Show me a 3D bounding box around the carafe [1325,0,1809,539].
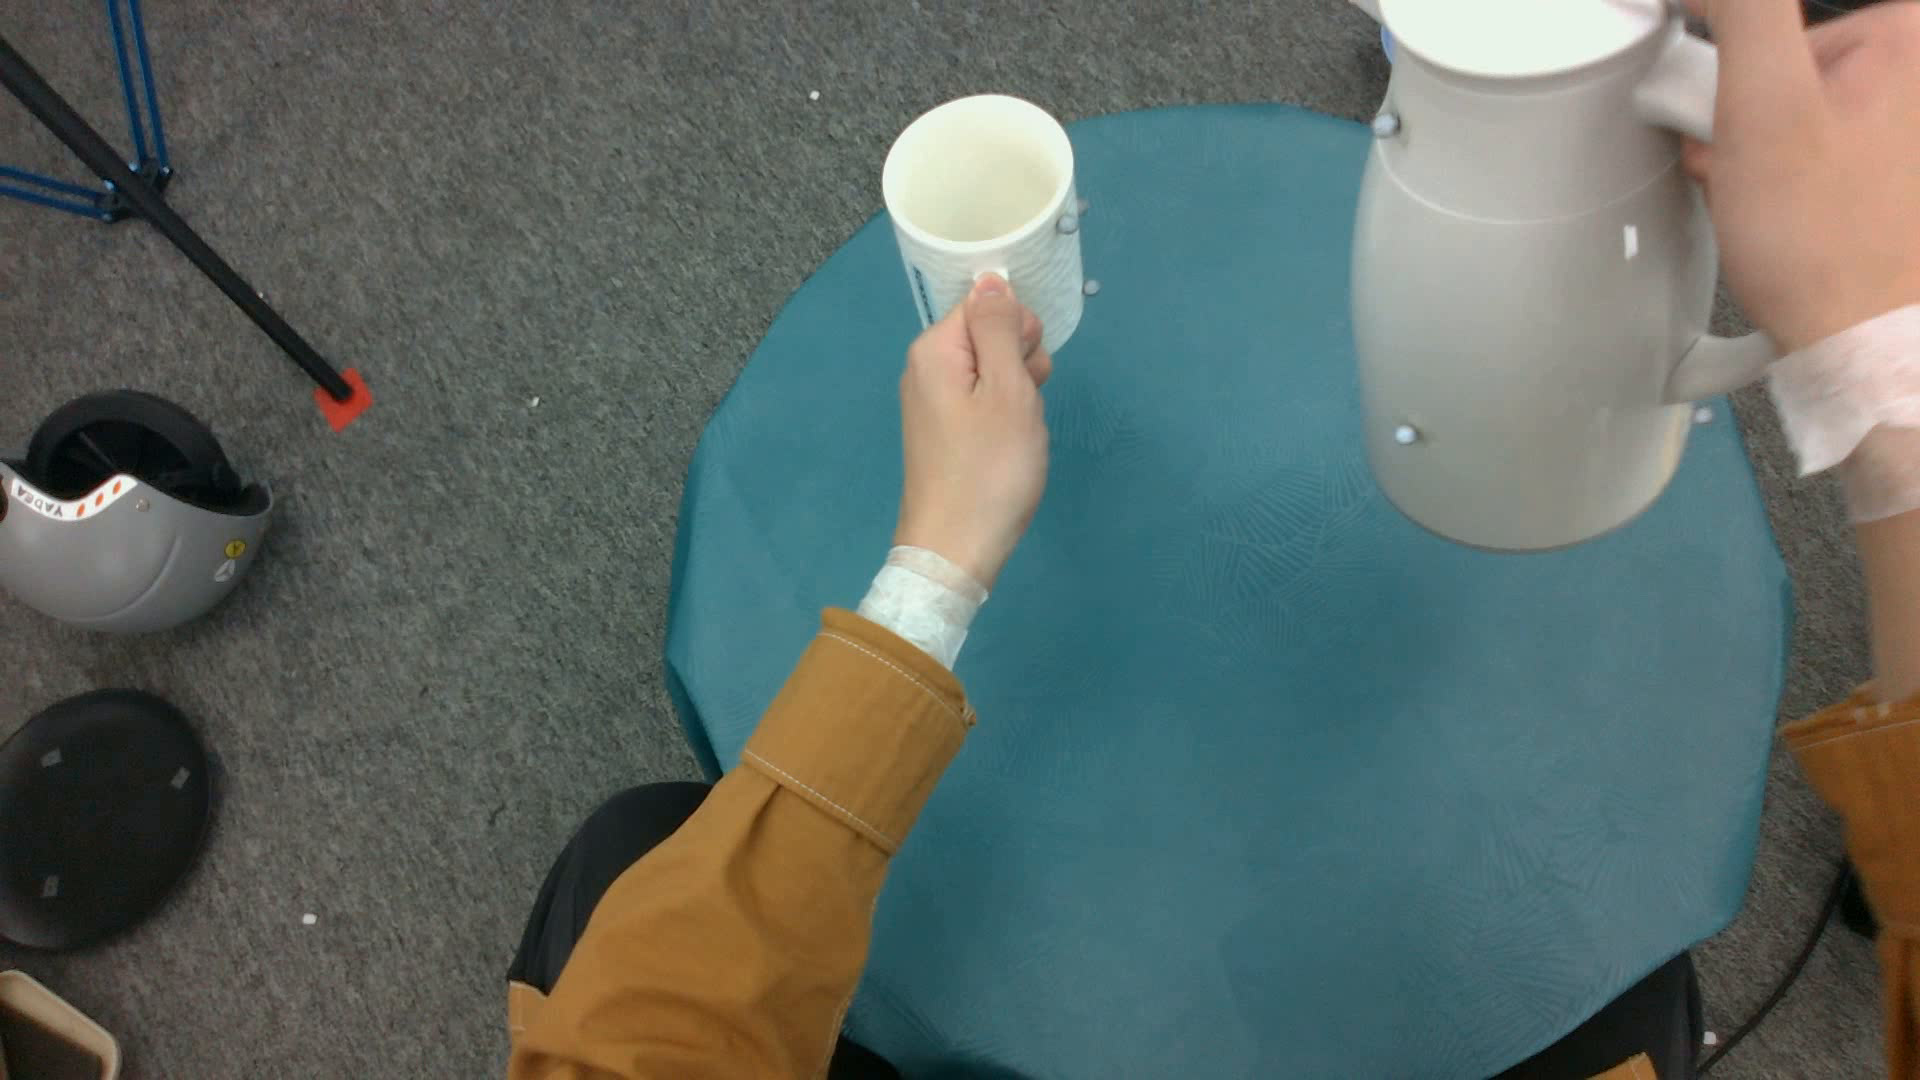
[{"bbox_3d":[0.217,-0.111,0.511,0.168,0.248,0.133,32,73,32],"label":"carafe"}]

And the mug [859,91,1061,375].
[{"bbox_3d":[0.005,-0.131,0.648,0.085,0.101,0.118,-10,63,4],"label":"mug"}]
